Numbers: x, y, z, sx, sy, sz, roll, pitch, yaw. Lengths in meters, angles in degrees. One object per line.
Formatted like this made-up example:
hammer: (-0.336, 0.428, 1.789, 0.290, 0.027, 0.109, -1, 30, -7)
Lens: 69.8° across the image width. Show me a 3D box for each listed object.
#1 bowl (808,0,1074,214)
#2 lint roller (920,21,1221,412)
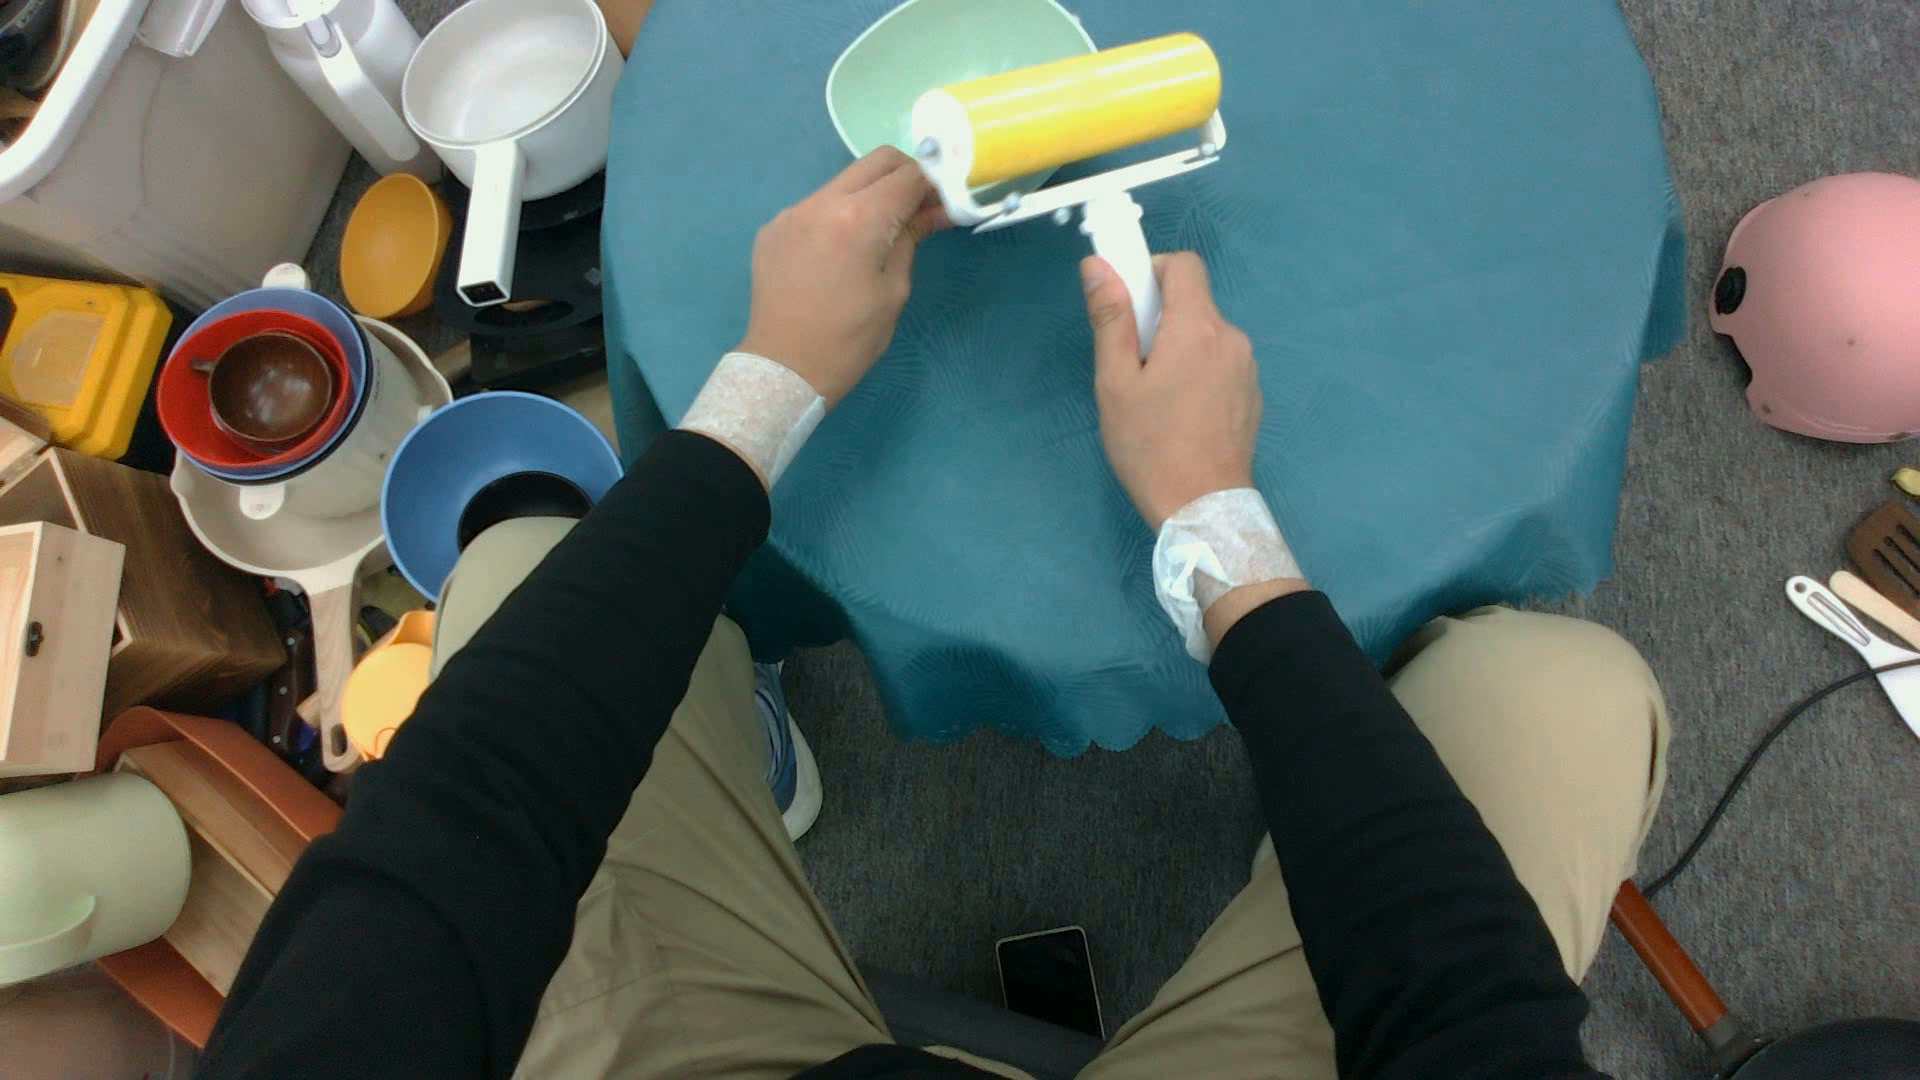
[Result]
bowl: (-0.004, -0.236, 0.756, 0.151, 0.058, 0.152, -4, 65, 9)
lint roller: (0.087, -0.157, 0.676, 0.175, 0.051, 0.192, -23, 86, -35)
